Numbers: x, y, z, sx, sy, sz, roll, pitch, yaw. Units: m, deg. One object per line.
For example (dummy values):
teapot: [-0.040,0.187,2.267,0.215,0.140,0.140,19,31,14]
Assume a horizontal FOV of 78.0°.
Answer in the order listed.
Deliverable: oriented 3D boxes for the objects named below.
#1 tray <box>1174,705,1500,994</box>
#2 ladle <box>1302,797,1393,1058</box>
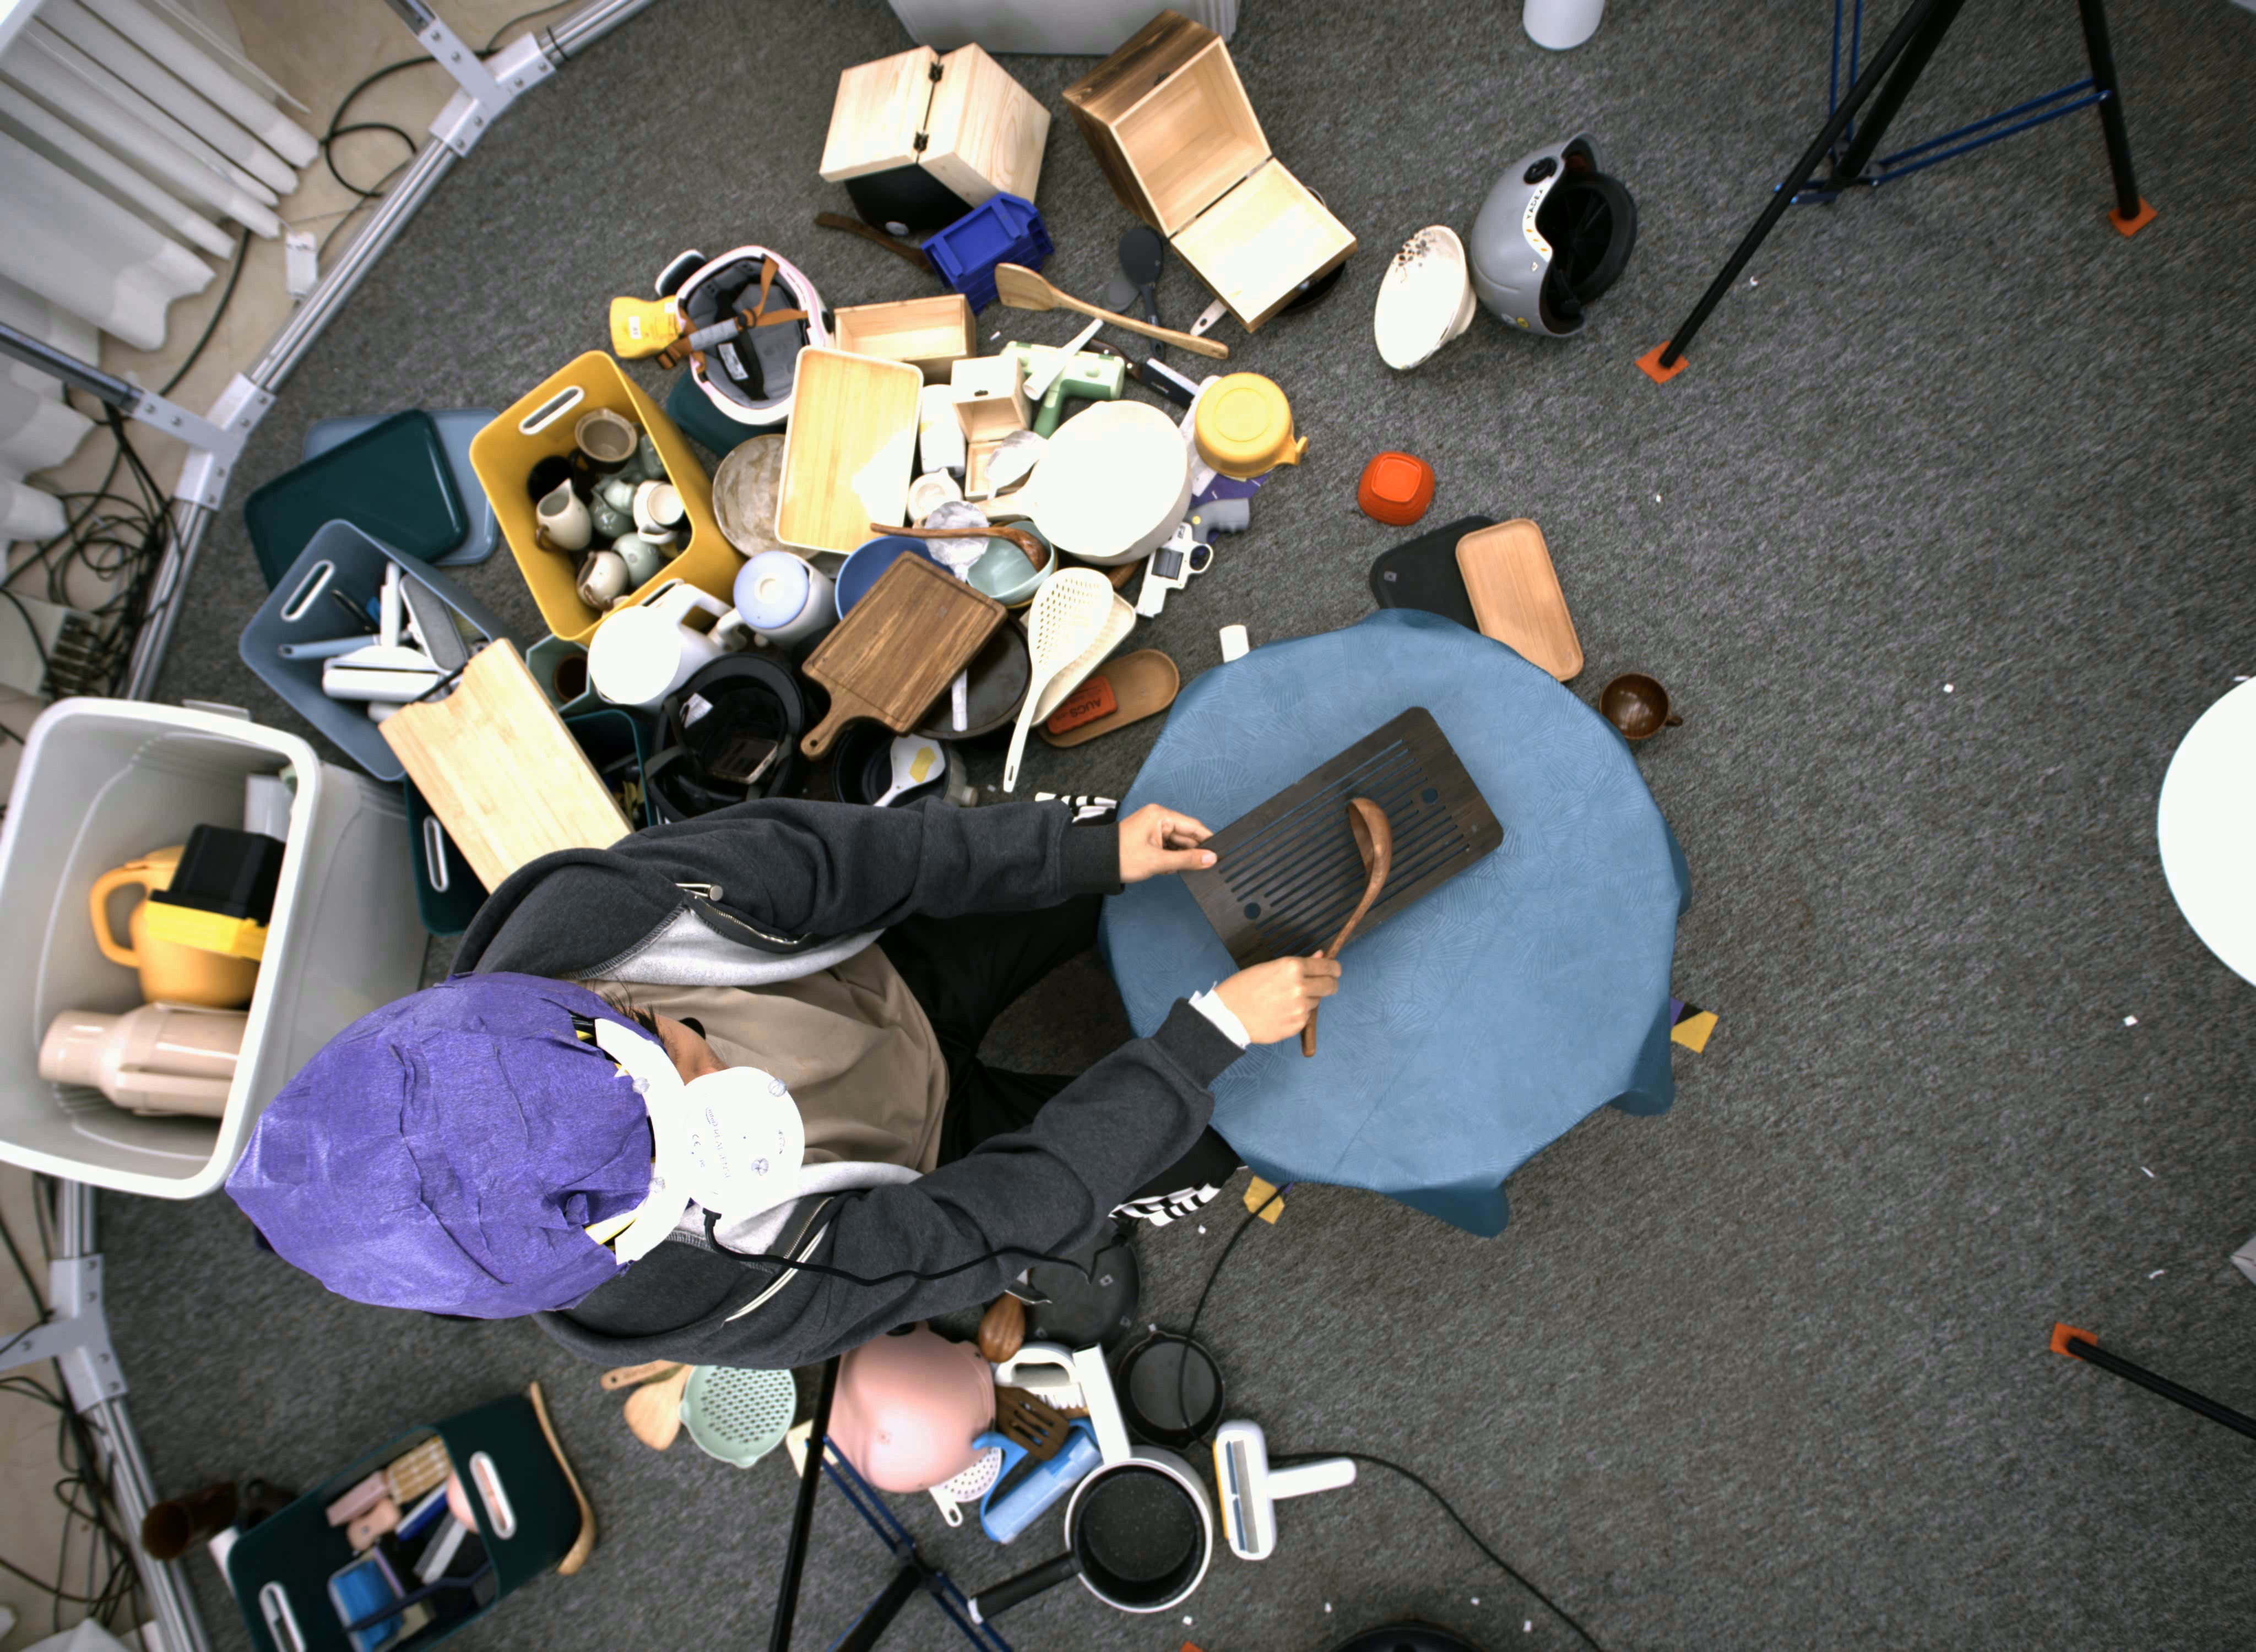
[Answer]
tray: [0.214,0.023,1.413,0.307,0.018,0.170,-33,95,4]
ladle: [0.201,0.096,1.358,0.065,0.077,0.259,23,86,5]
